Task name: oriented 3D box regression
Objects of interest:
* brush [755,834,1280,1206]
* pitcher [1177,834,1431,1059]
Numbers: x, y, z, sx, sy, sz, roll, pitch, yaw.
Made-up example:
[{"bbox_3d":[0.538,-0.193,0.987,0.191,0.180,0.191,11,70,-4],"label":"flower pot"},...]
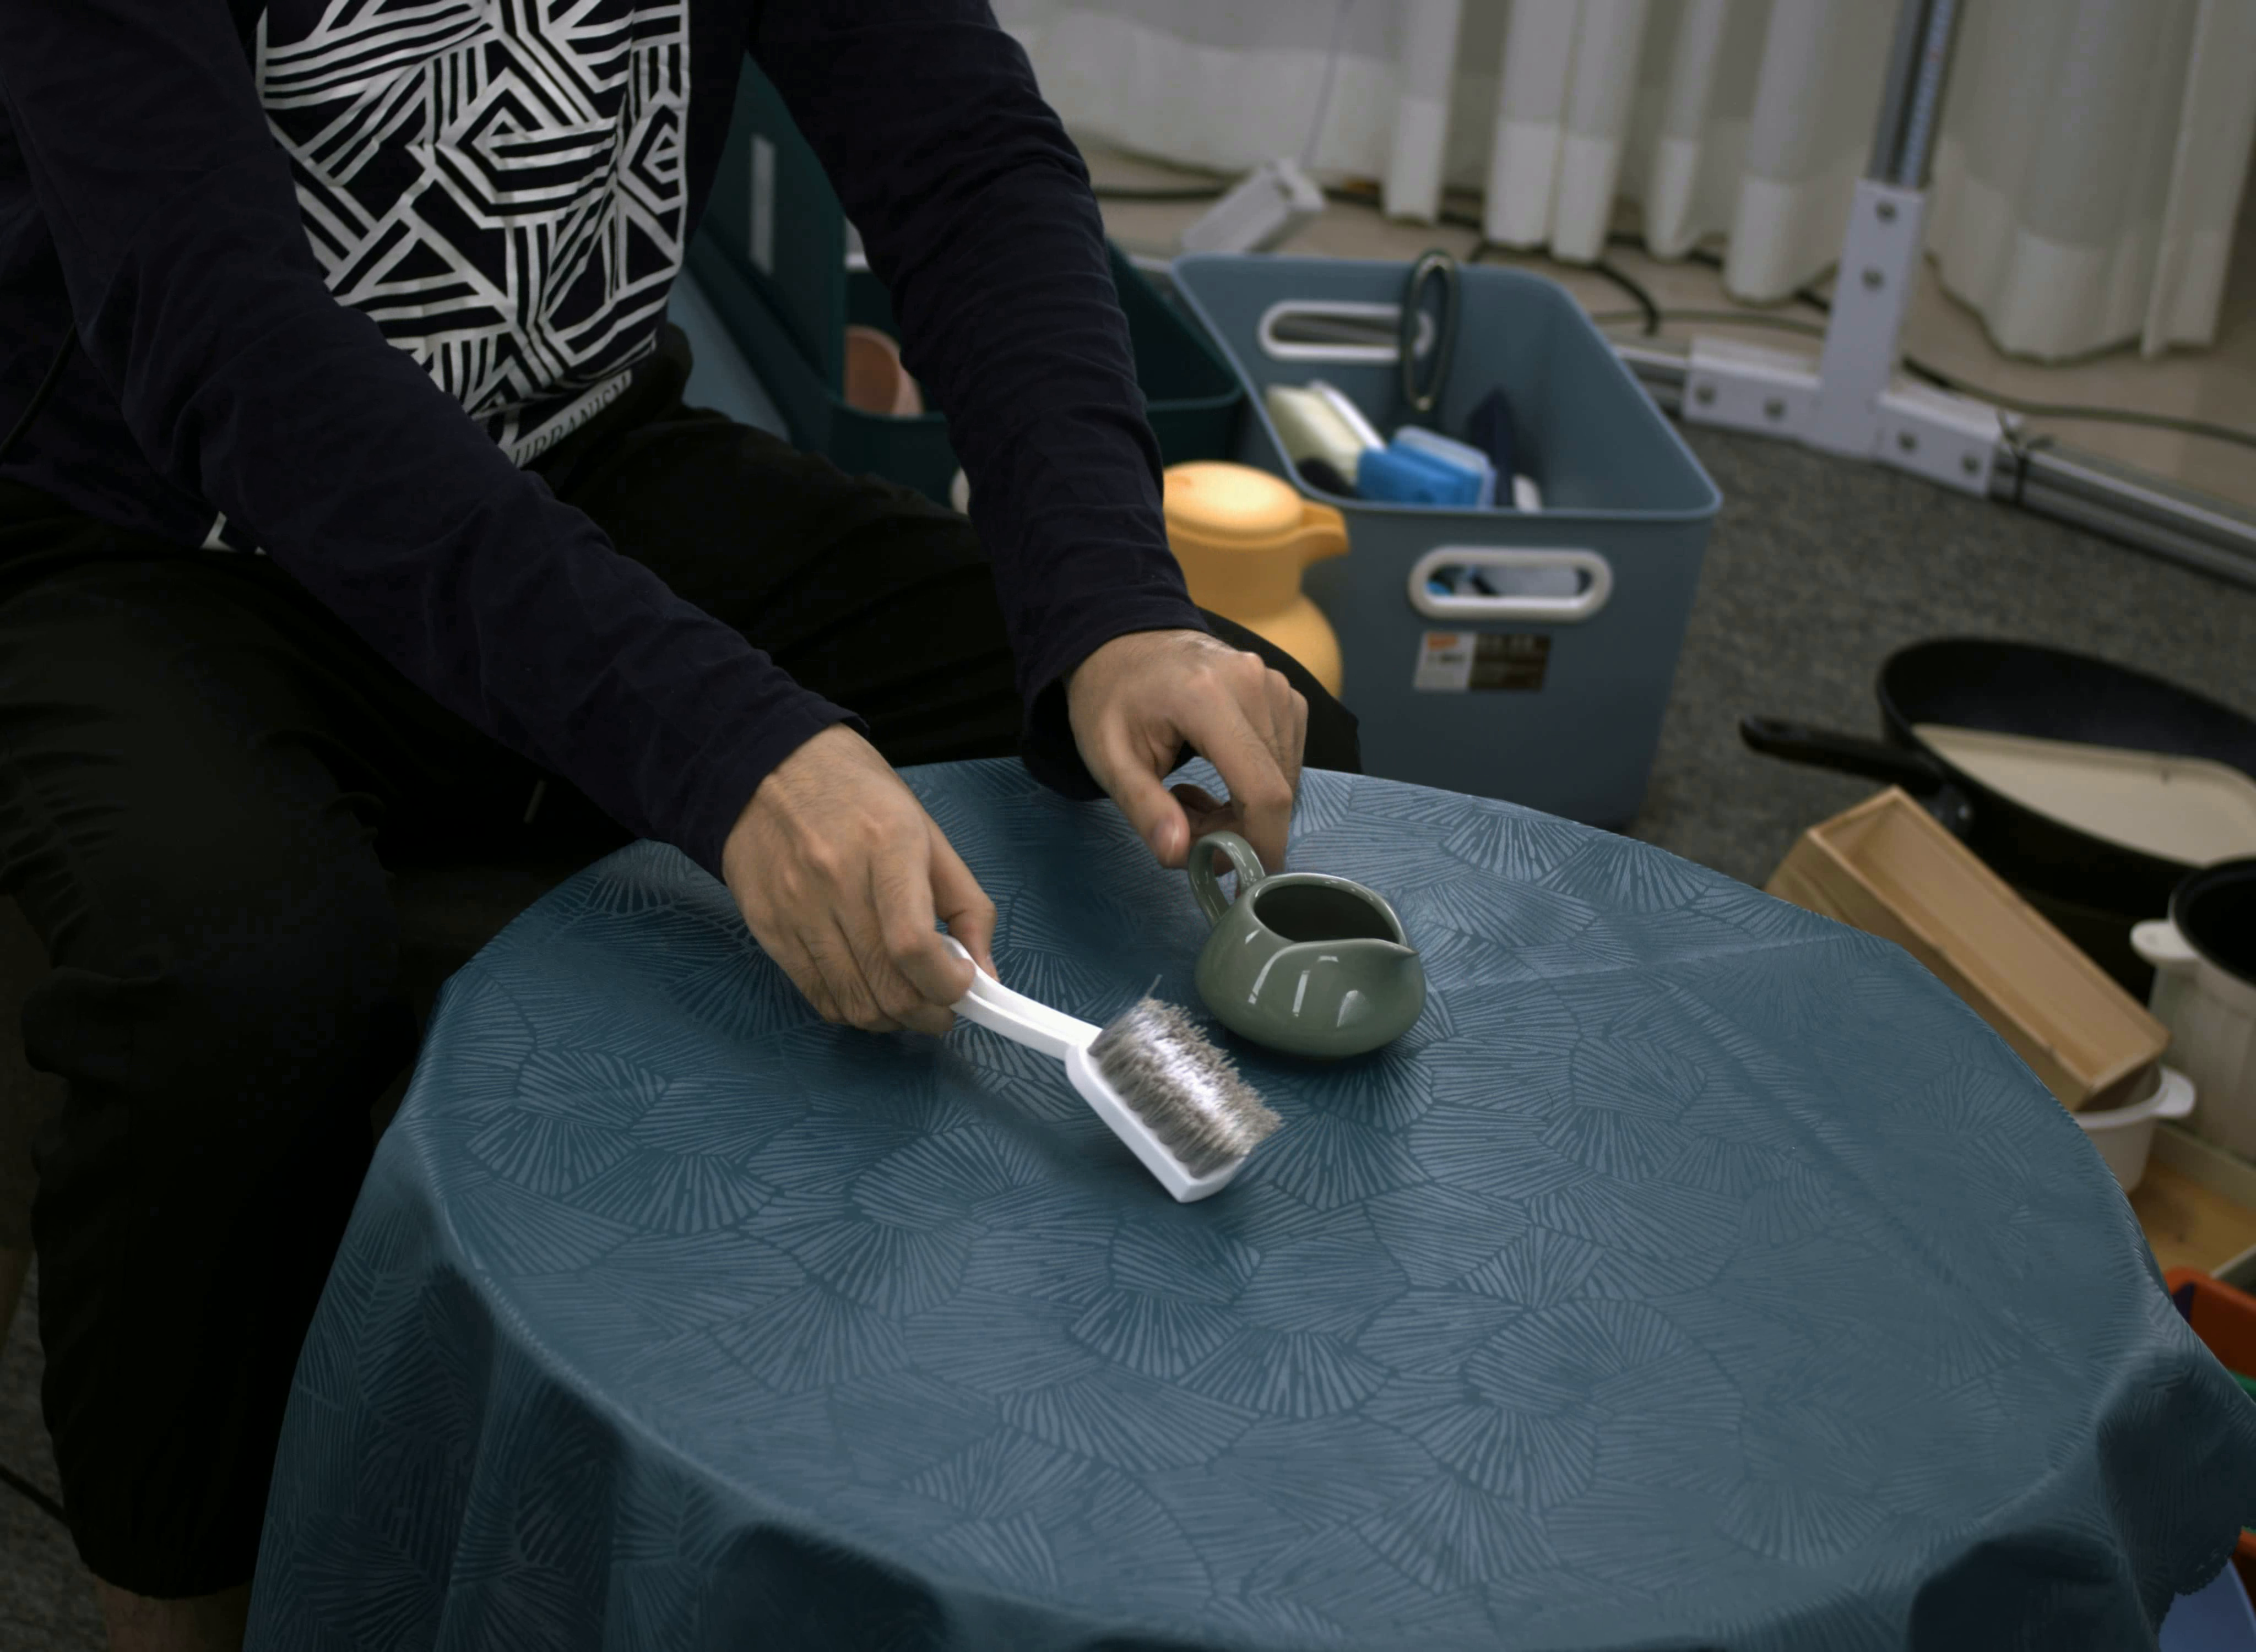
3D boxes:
[{"bbox_3d":[-0.043,0.052,1.852,0.034,0.050,0.245,-27,49,-37],"label":"brush"},{"bbox_3d":[0.061,0.045,1.914,0.113,0.056,0.084,26,31,36],"label":"pitcher"}]
